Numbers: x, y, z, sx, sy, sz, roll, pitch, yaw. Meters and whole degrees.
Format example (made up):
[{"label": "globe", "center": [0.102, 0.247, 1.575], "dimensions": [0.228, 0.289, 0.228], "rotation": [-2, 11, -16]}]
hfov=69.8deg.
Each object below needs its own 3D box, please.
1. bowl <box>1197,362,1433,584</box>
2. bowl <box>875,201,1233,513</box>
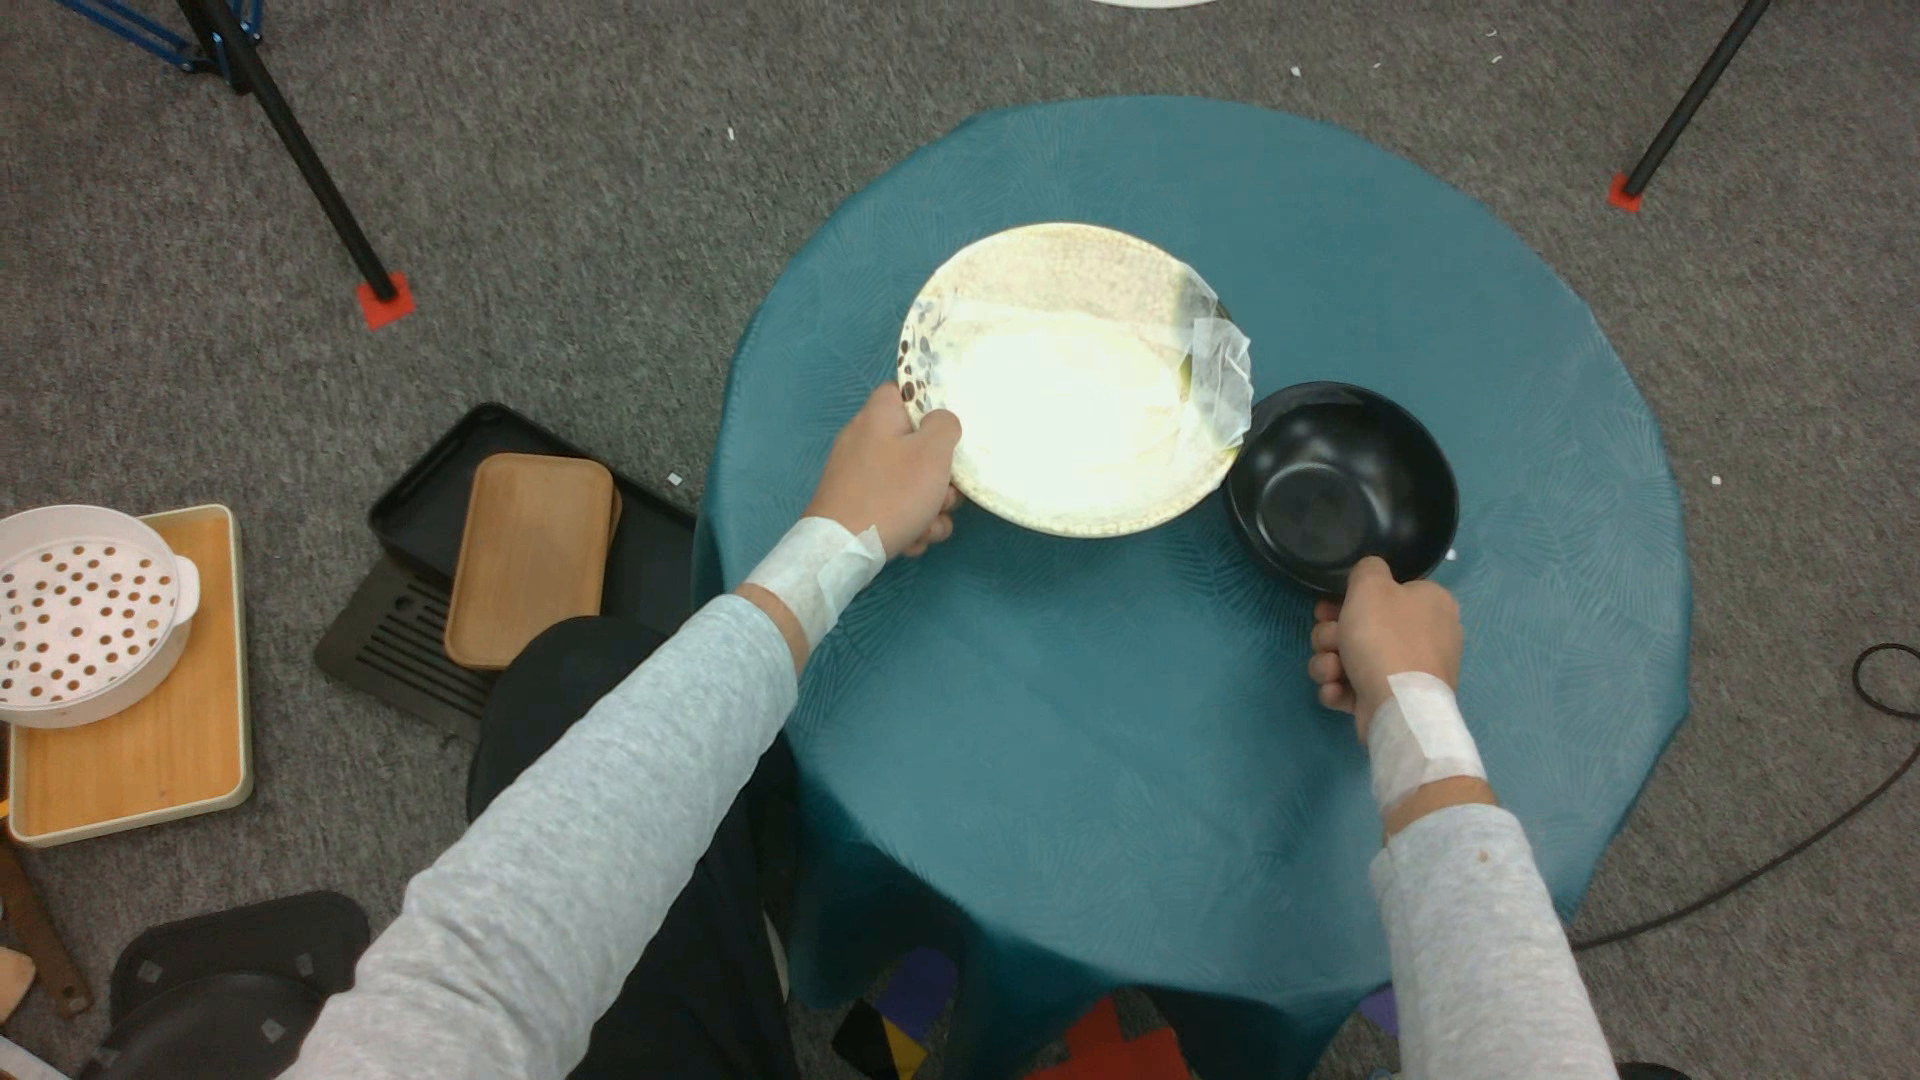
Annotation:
[{"label": "bowl", "center": [0.204, -0.034, 0.819], "dimensions": [0.140, 0.049, 0.140], "rotation": [2, 68, -5]}, {"label": "bowl", "center": [0.051, -0.094, 0.809], "dimensions": [0.204, 0.077, 0.204], "rotation": [2, 67, -5]}]
